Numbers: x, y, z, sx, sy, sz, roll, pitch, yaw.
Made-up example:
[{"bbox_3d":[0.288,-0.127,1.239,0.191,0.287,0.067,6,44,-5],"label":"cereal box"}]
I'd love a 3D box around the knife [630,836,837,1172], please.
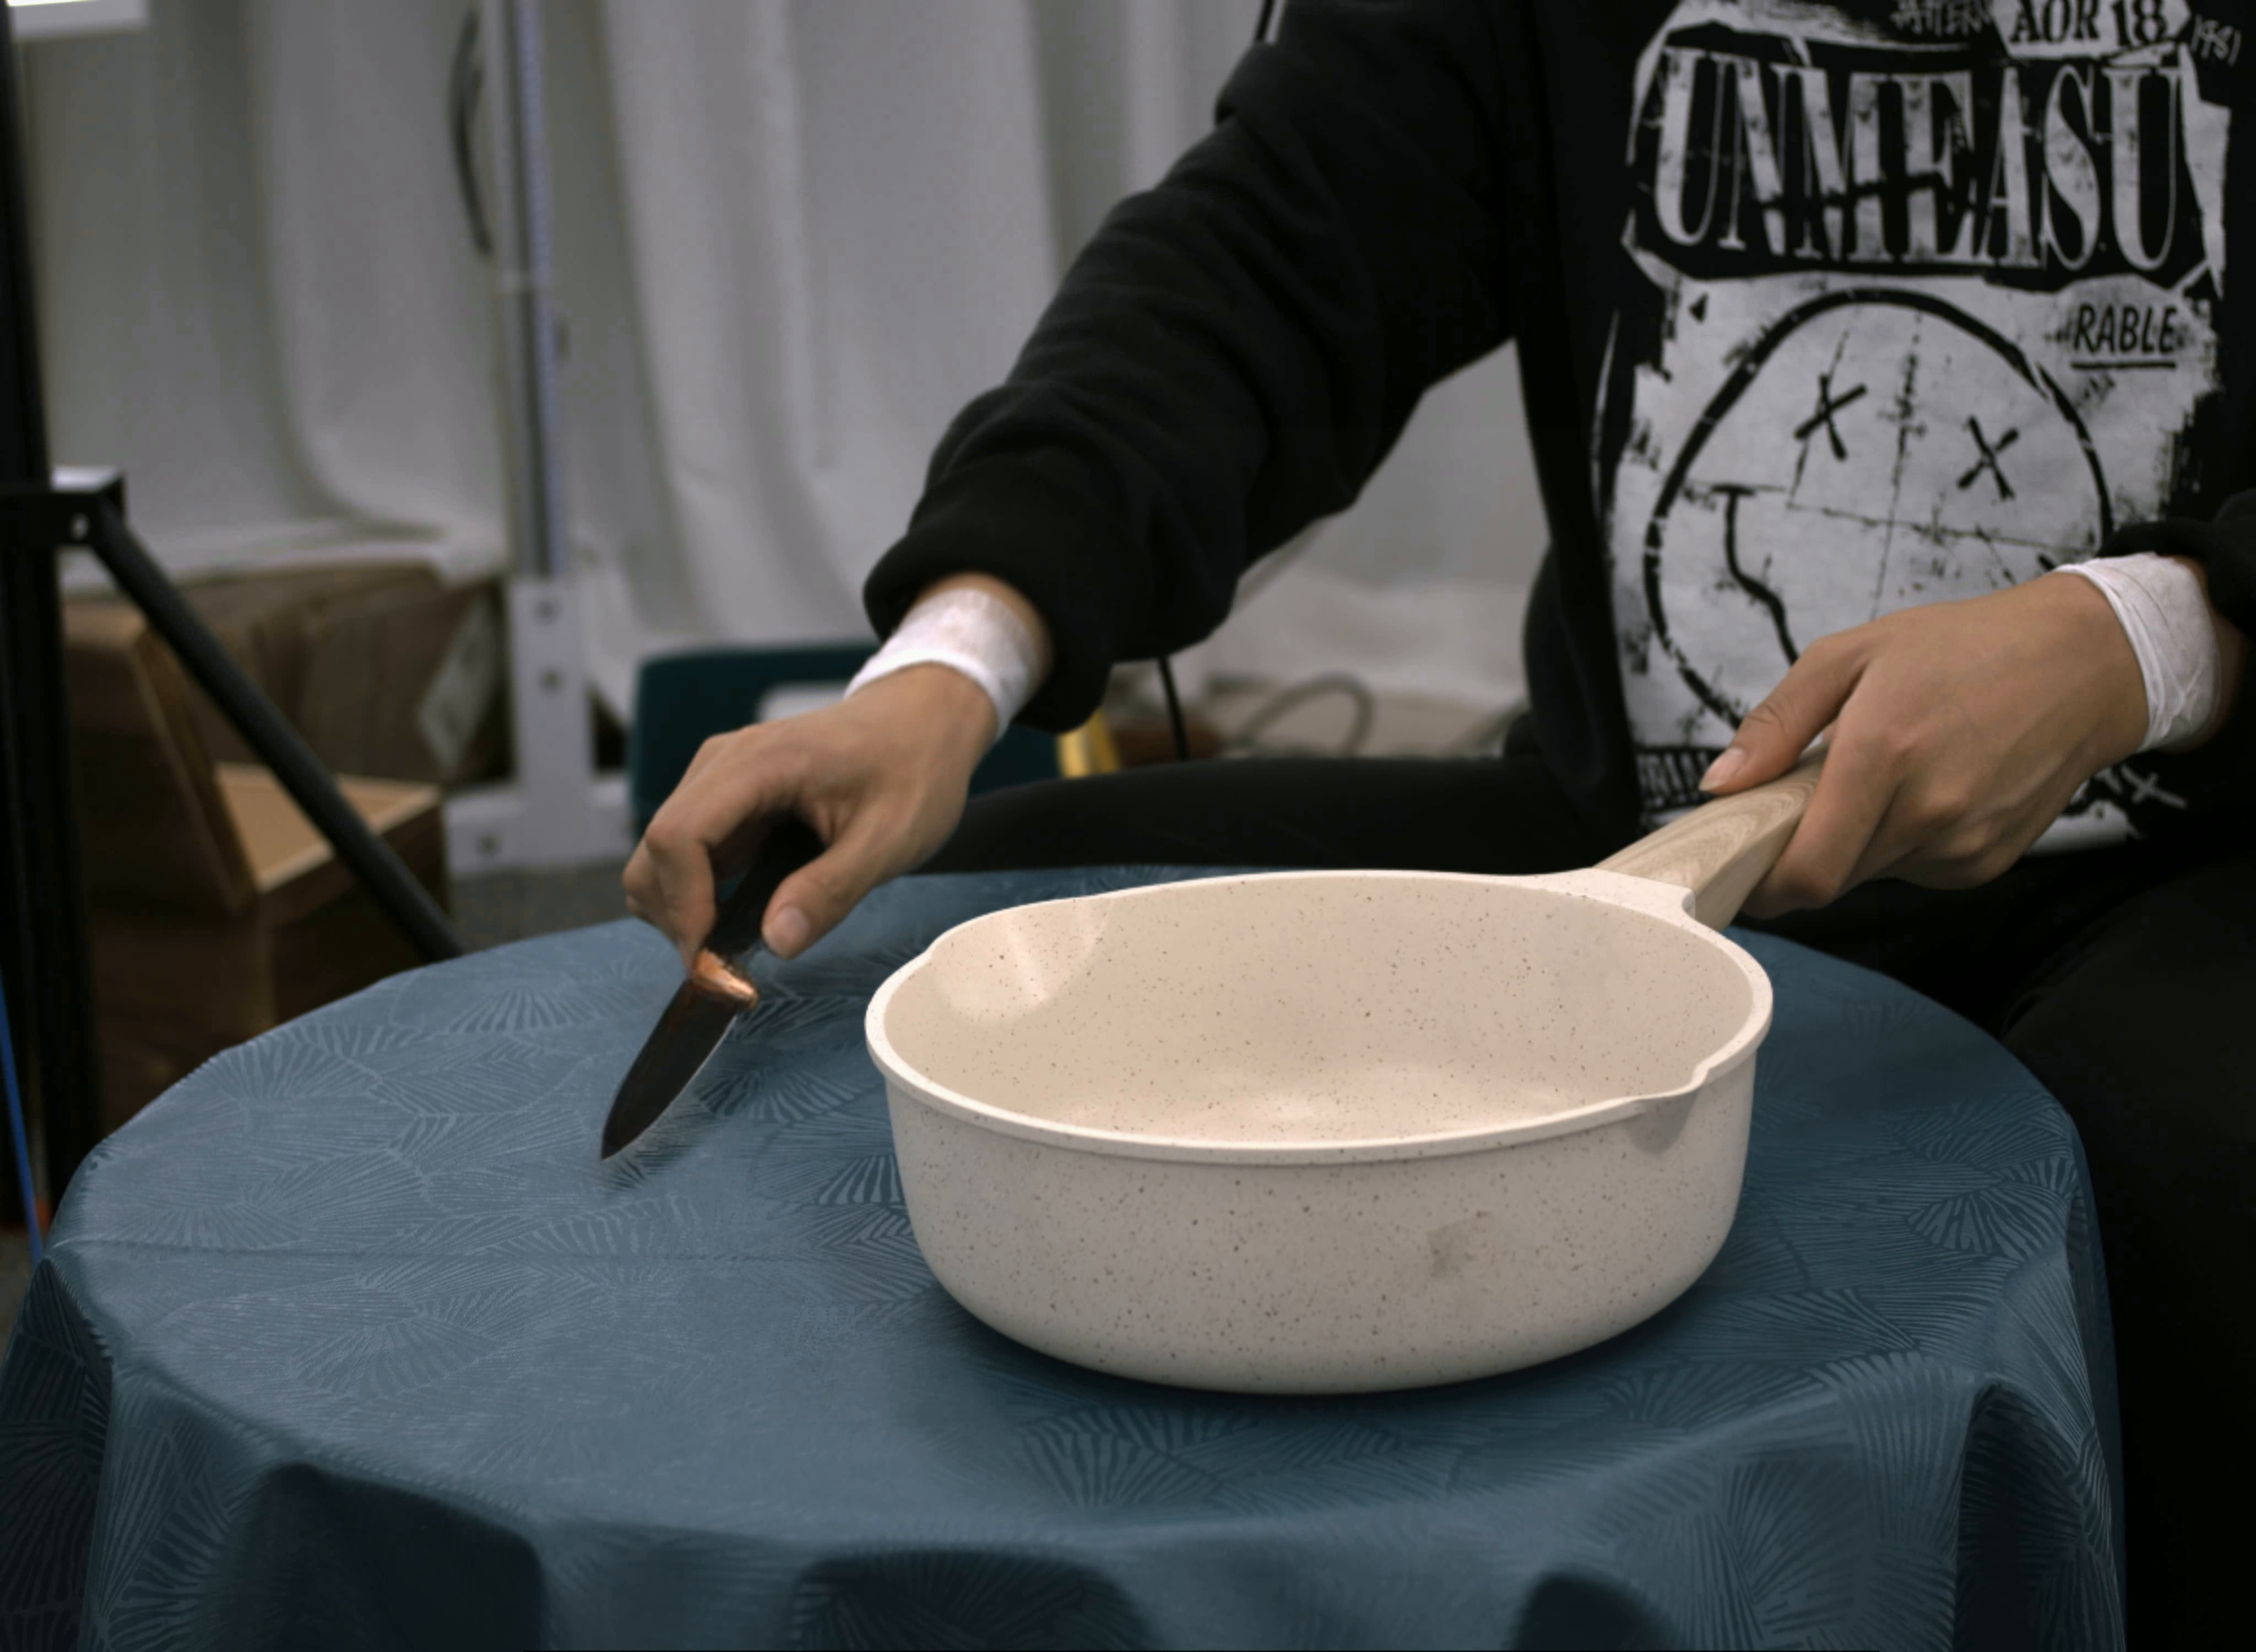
[{"bbox_3d":[-0.126,0.053,1.670,0.026,0.017,0.225,24,27,2],"label":"knife"}]

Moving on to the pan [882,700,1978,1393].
[{"bbox_3d":[0.120,0.059,1.528,0.269,0.102,0.425,10,20,43],"label":"pan"}]
